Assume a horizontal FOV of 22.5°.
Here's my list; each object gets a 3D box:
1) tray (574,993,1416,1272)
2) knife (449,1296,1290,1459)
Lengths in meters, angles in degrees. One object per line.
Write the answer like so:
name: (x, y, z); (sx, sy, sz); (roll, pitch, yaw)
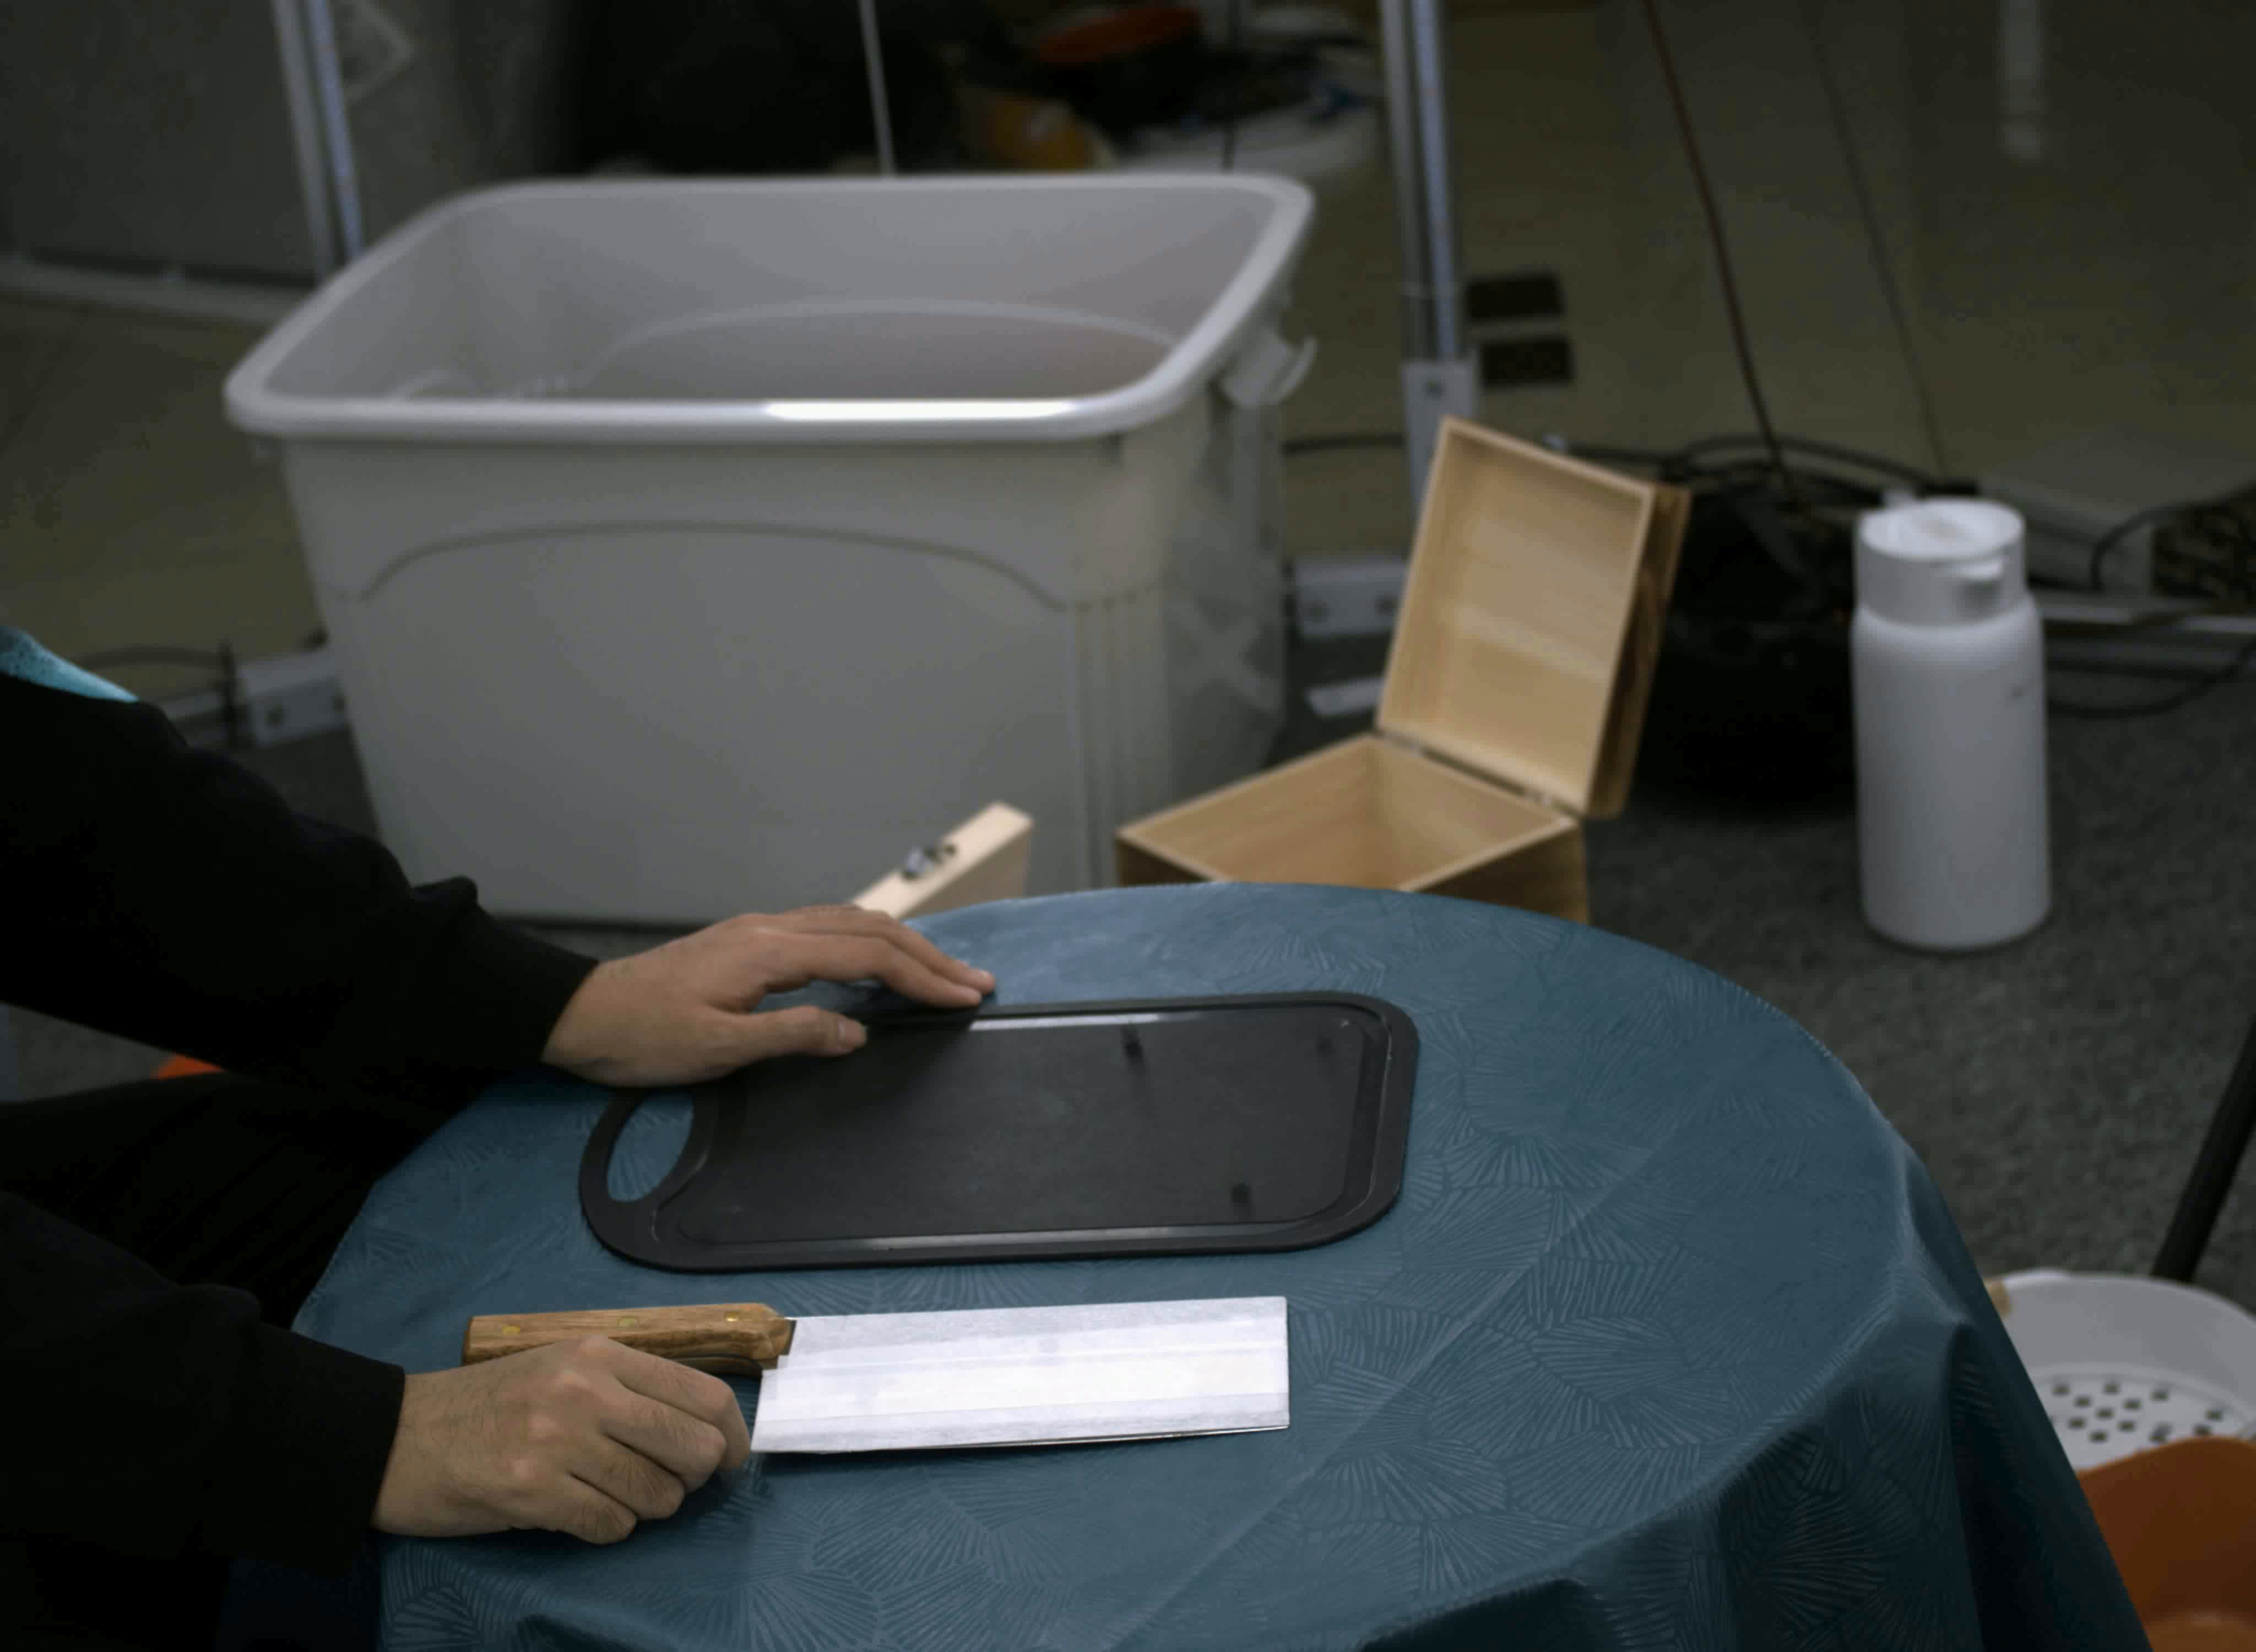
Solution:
tray: (-0.054, 0.116, 2.200); (0.325, 0.010, 0.208); (-2, 25, 8)
knife: (-0.095, 0.197, 2.027); (0.305, 0.021, 0.091); (-3, 27, 2)
